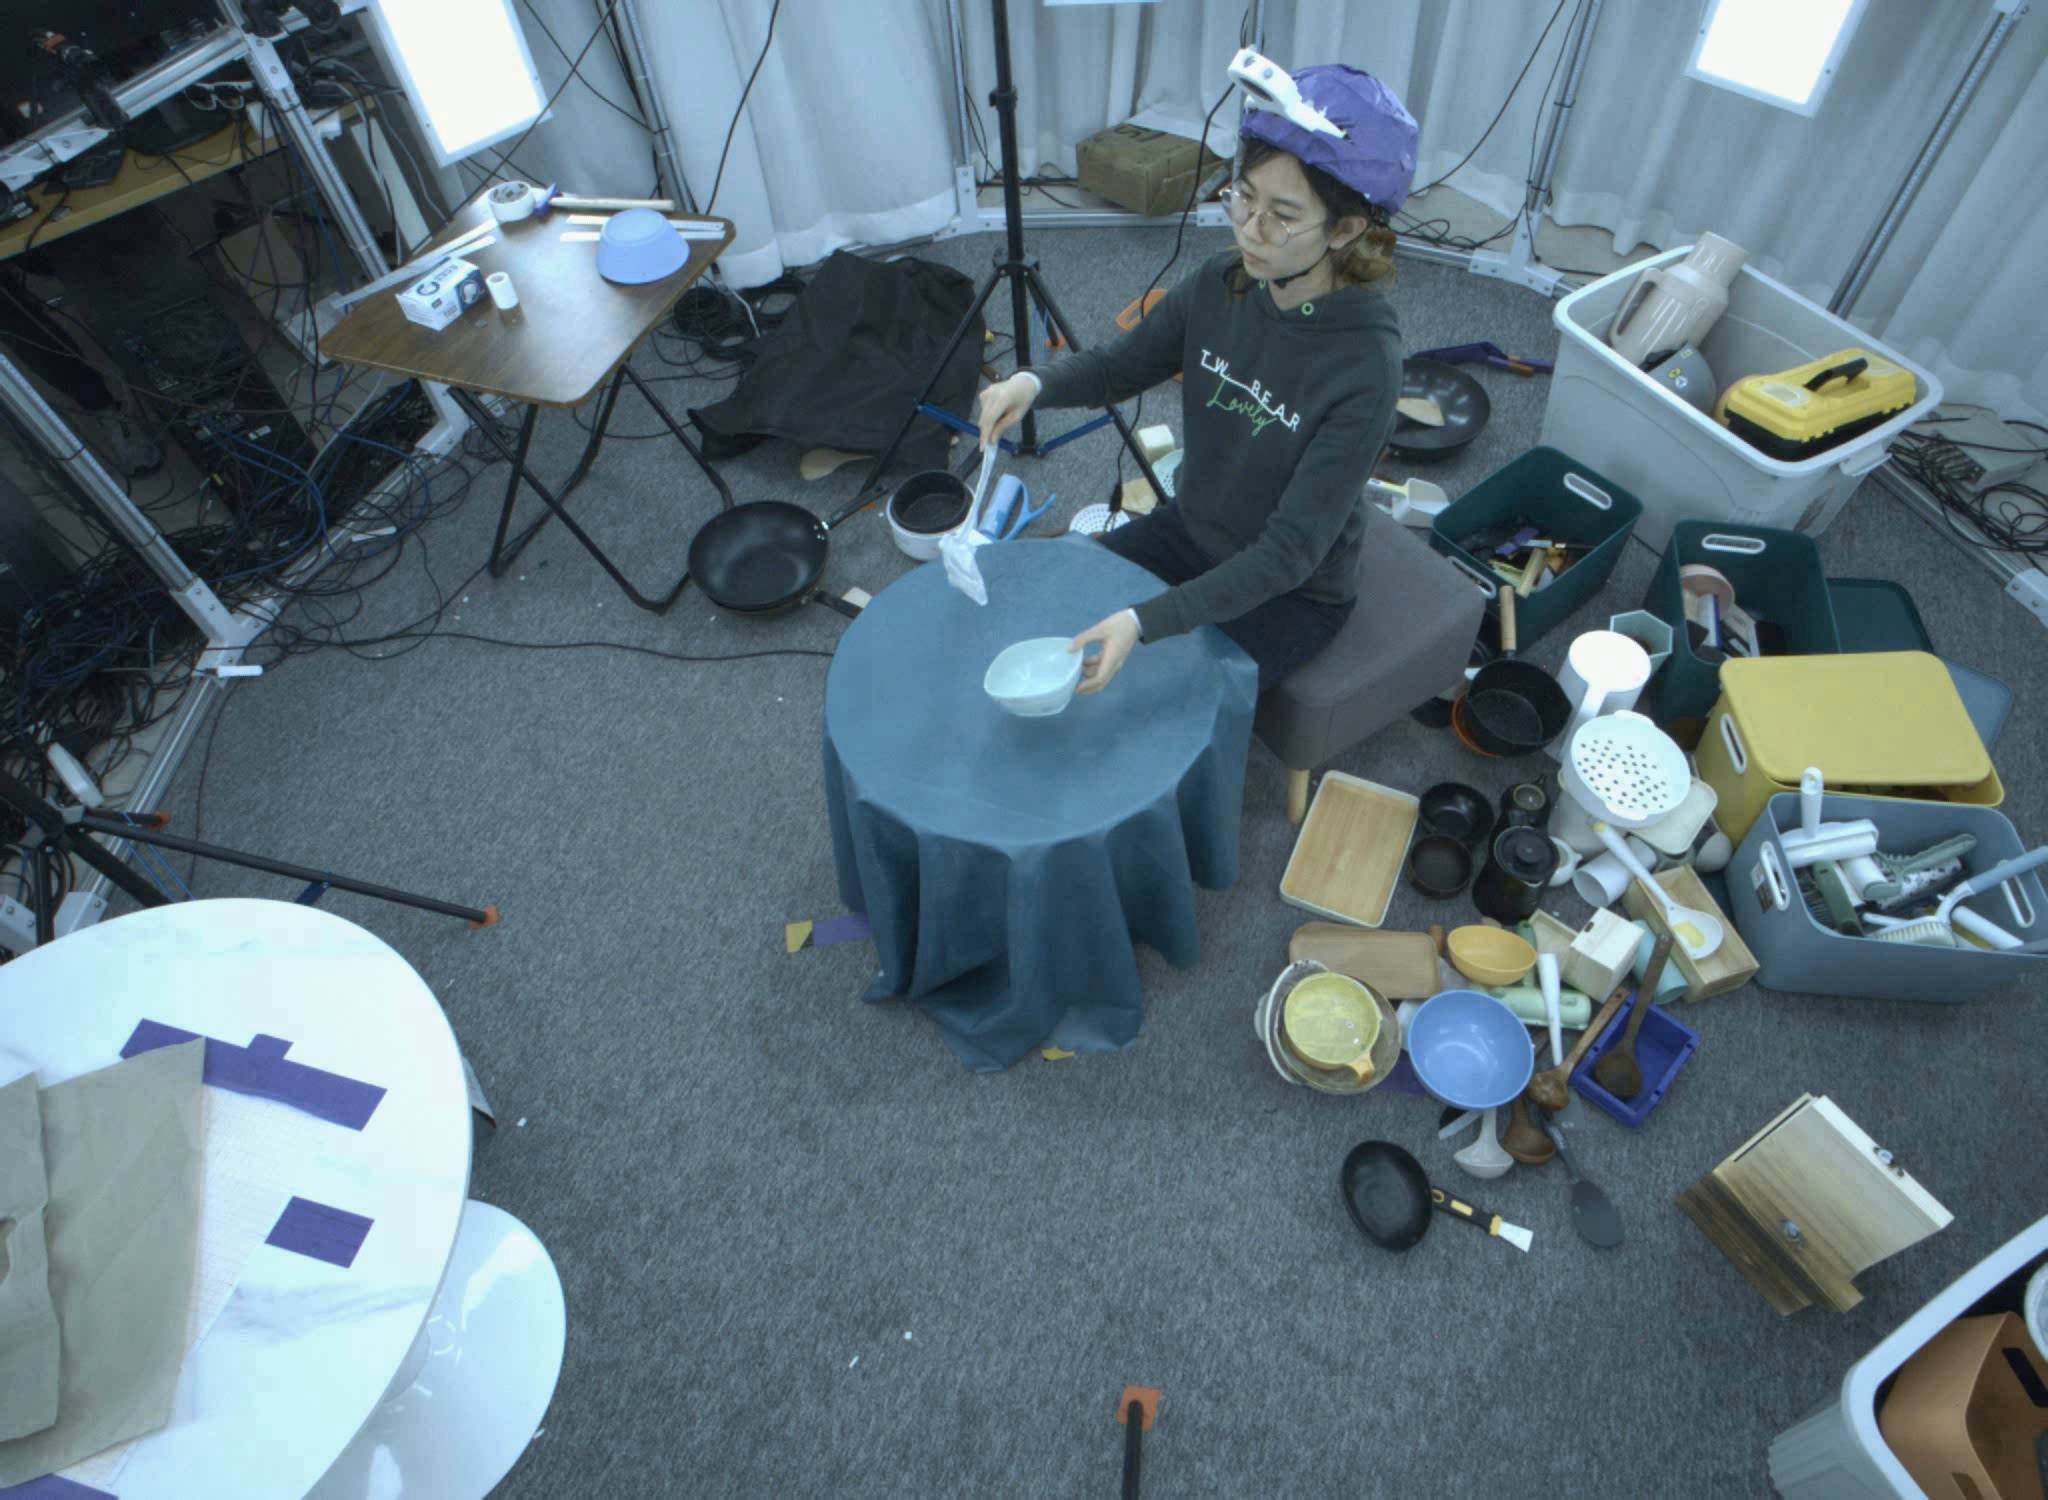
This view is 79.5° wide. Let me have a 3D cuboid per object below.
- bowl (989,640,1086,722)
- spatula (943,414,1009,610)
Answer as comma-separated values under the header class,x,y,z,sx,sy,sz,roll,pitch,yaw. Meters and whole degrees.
class,x,y,z,sx,sy,sz,roll,pitch,yaw
bowl,0.027,-0.090,1.742,0.150,0.059,0.150,-13,39,12
spatula,-0.057,-0.362,1.751,0.044,0.101,0.363,-8,58,38
